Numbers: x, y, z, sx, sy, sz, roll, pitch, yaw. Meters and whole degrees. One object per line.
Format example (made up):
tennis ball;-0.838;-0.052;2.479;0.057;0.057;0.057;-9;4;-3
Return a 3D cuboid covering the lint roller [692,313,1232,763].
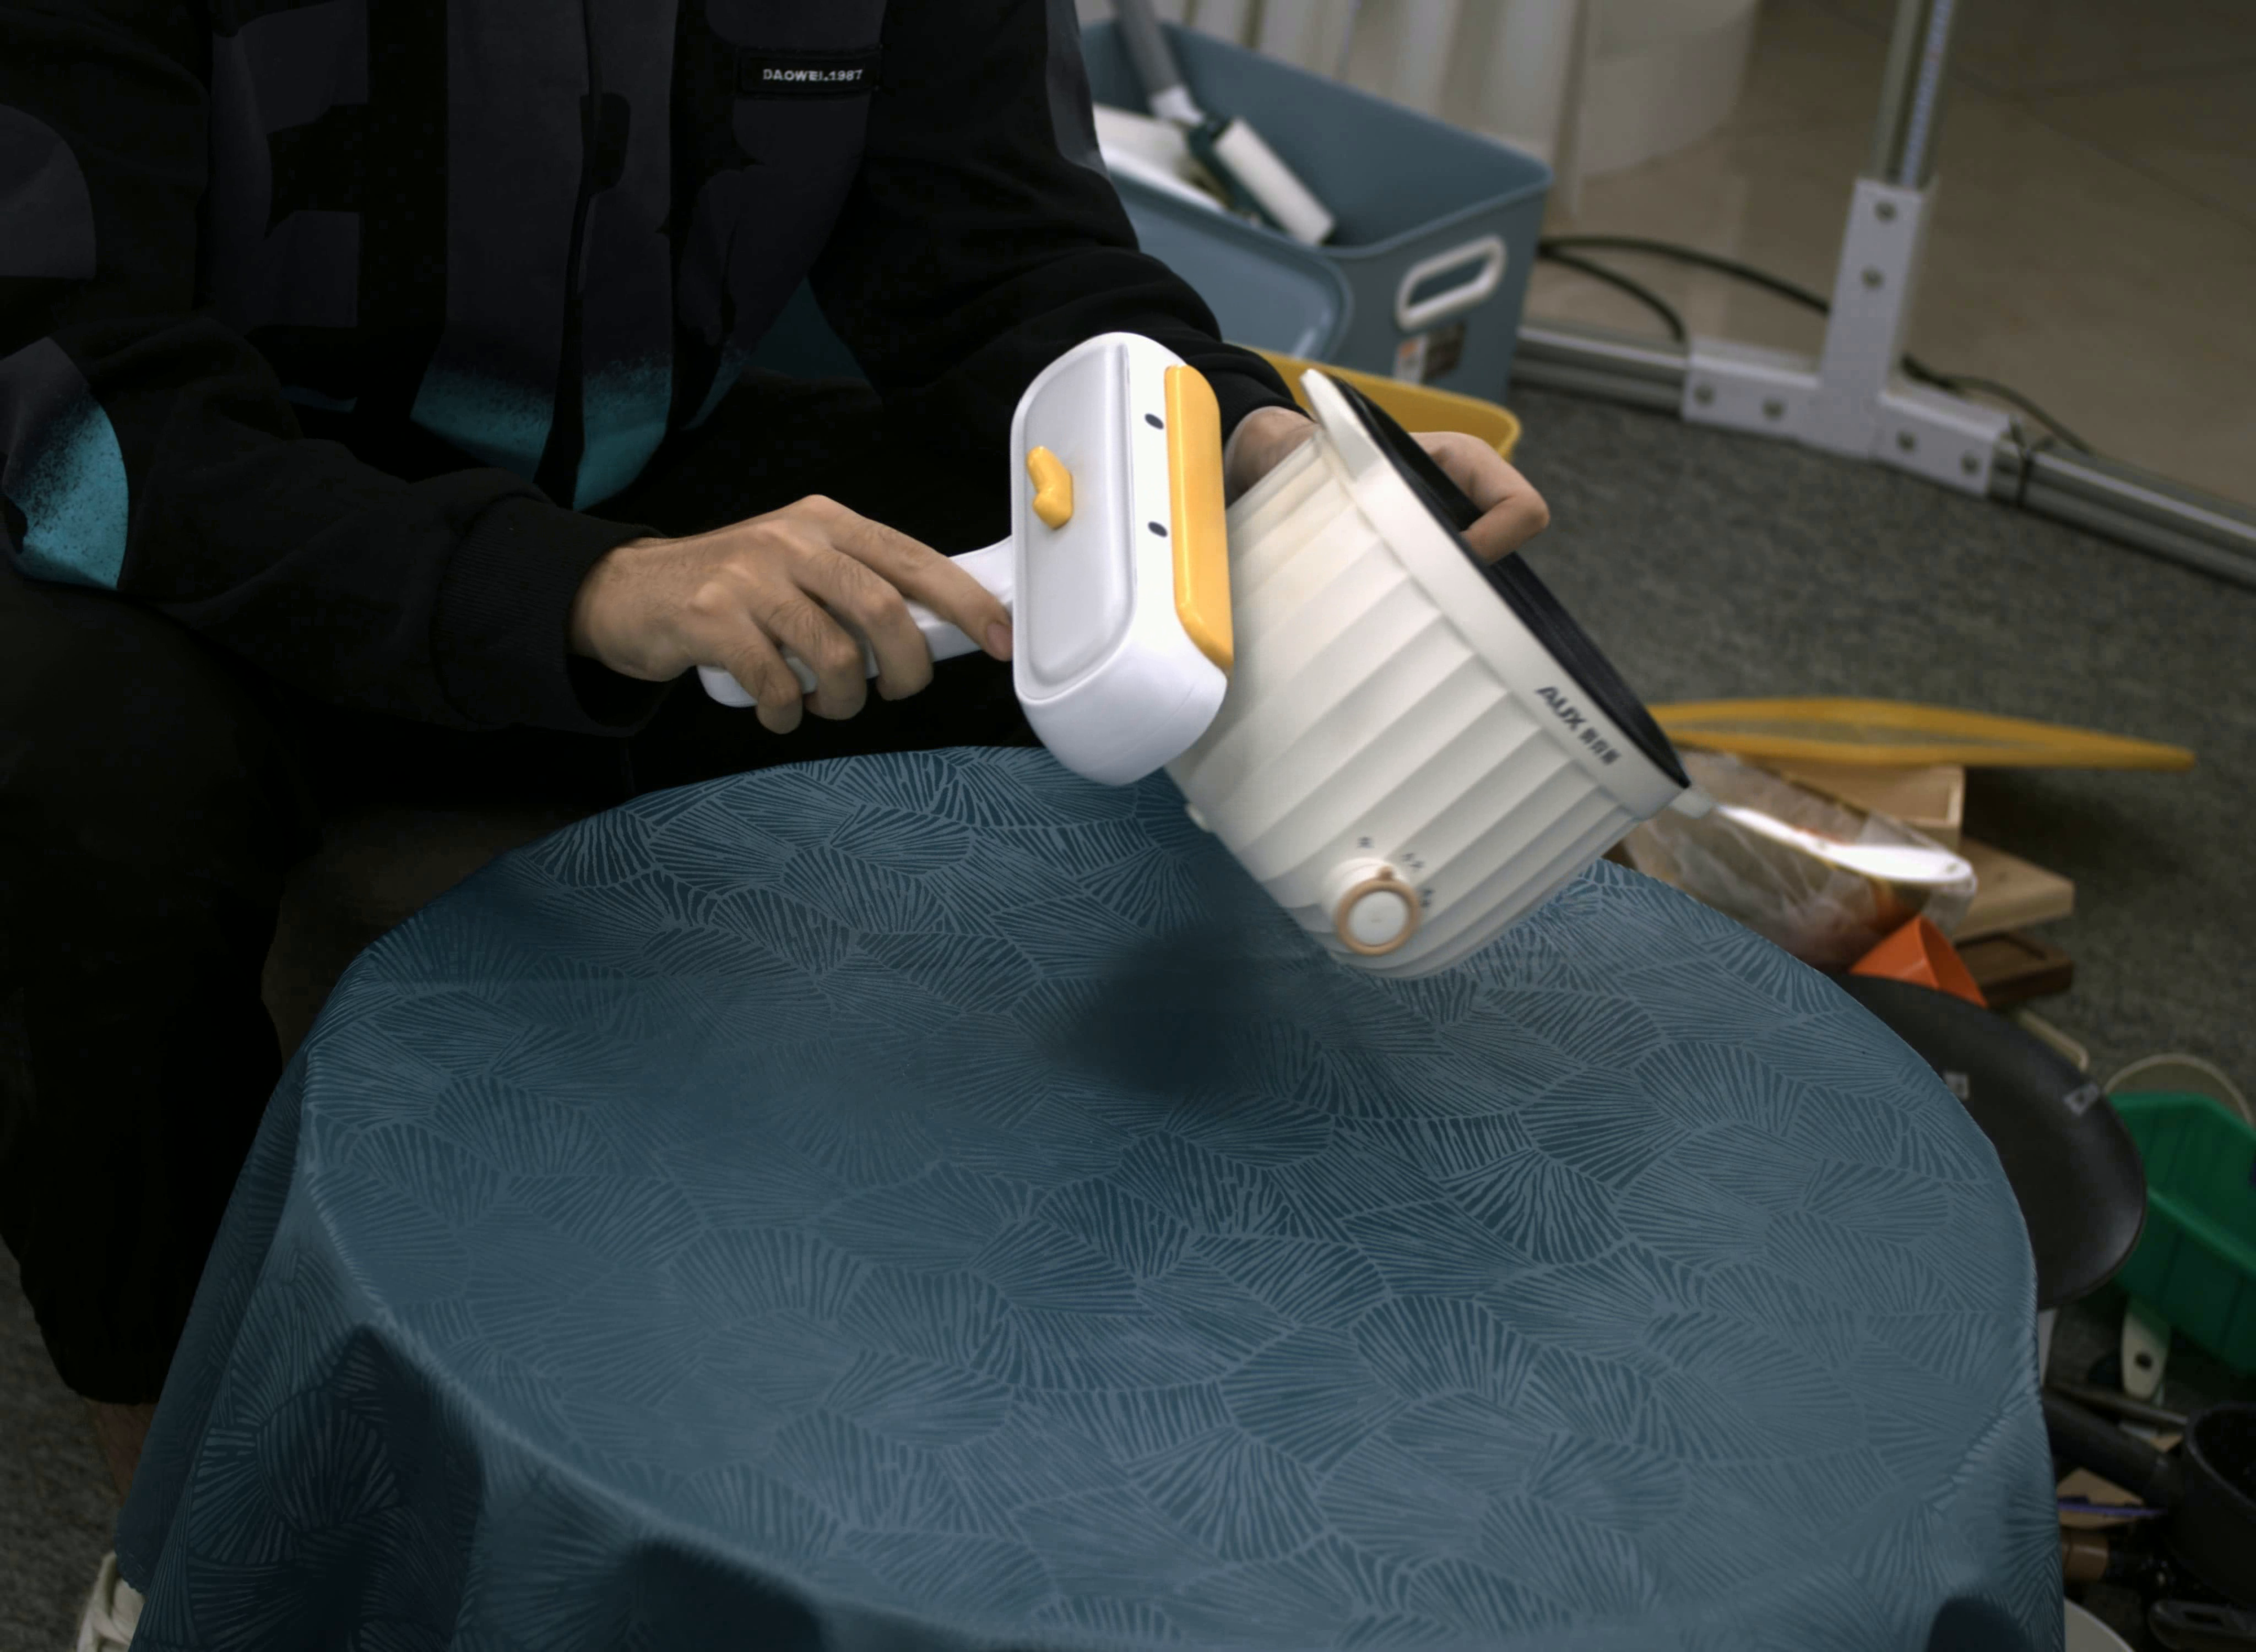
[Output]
lint roller;-0.059;-0.078;1.838;0.192;0.073;0.194;-28;42;18

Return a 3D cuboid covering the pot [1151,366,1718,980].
pot;0.094;-0.038;1.872;0.238;0.142;0.192;43;7;-30
